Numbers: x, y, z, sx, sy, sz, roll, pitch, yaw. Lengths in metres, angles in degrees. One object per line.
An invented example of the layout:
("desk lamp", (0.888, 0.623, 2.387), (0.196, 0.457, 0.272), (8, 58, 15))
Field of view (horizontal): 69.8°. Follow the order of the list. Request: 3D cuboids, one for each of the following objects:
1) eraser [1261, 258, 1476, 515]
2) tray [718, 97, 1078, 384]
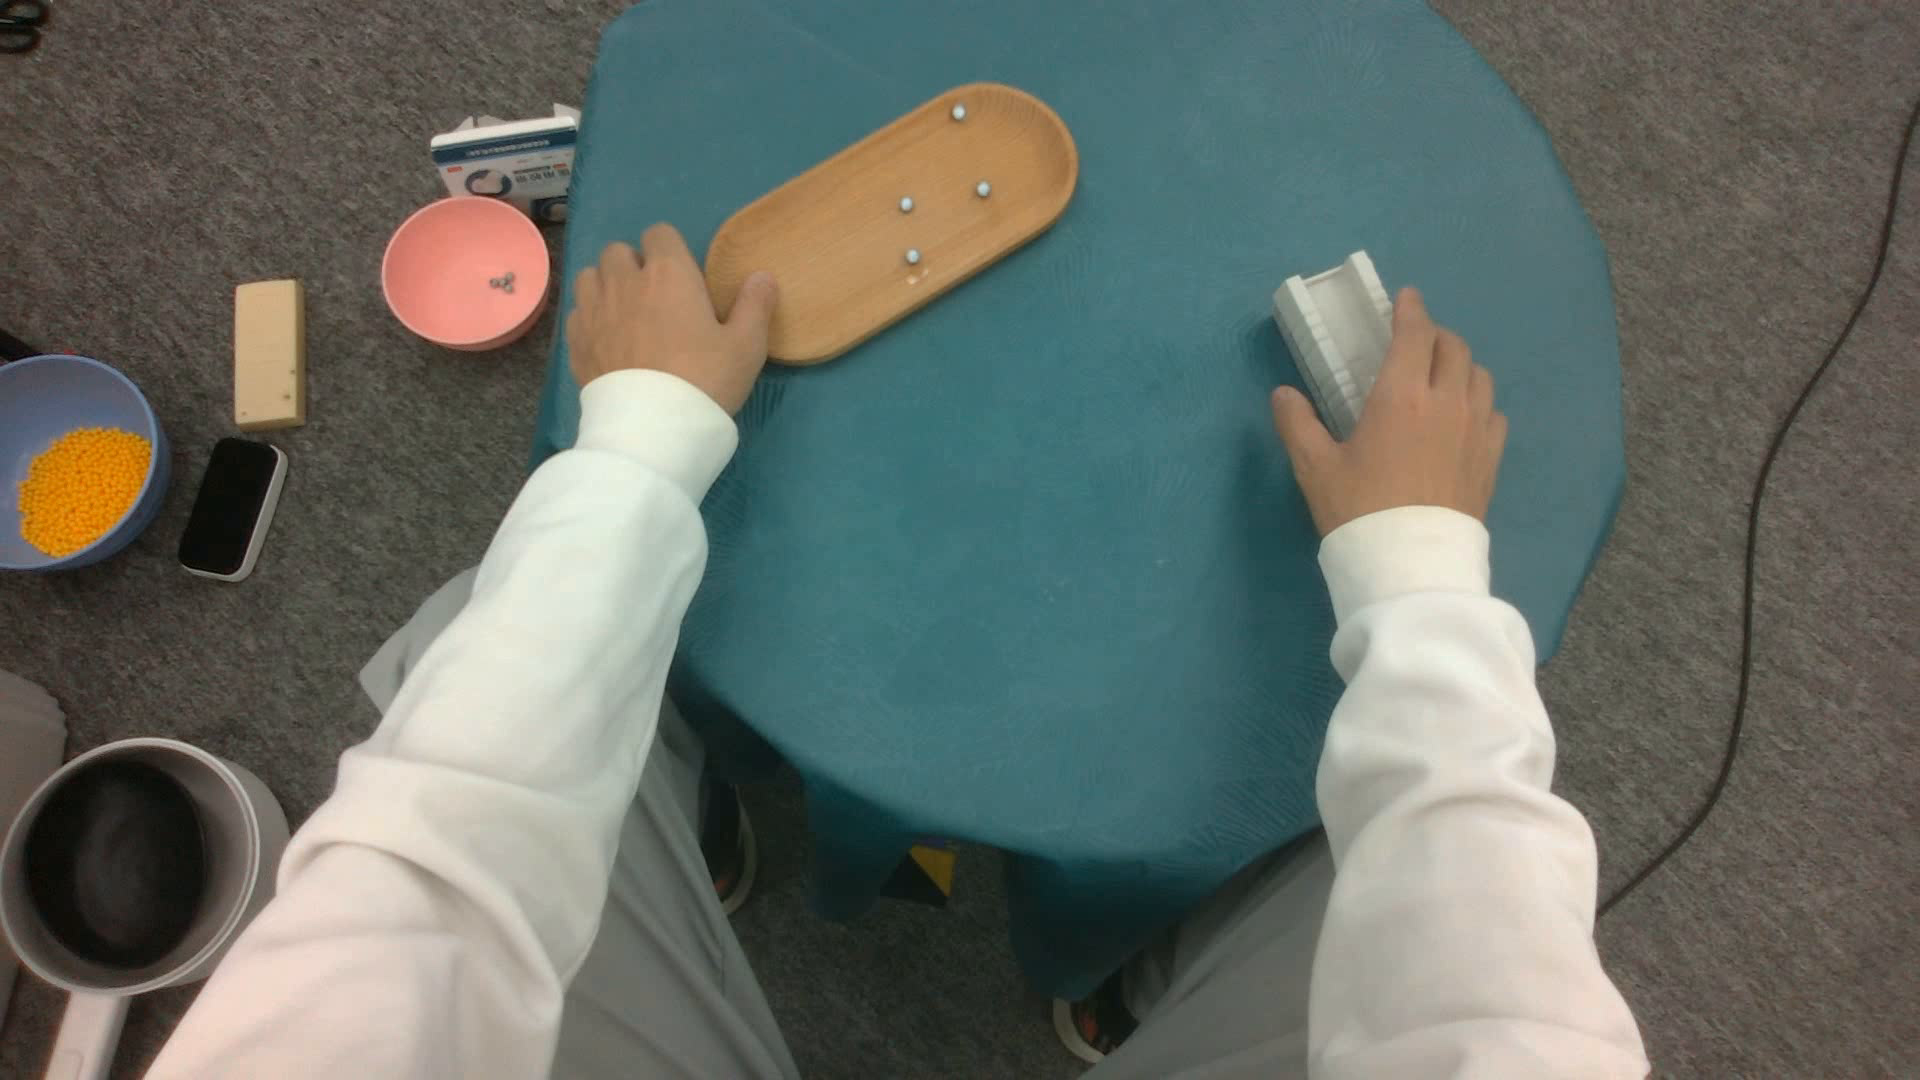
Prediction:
("eraser", (0.222, -0.084, 0.761), (0.050, 0.046, 0.134), (-27, 76, -3))
("tray", (-0.034, -0.174, 0.793), (0.231, 0.020, 0.102), (-36, 77, -10))
